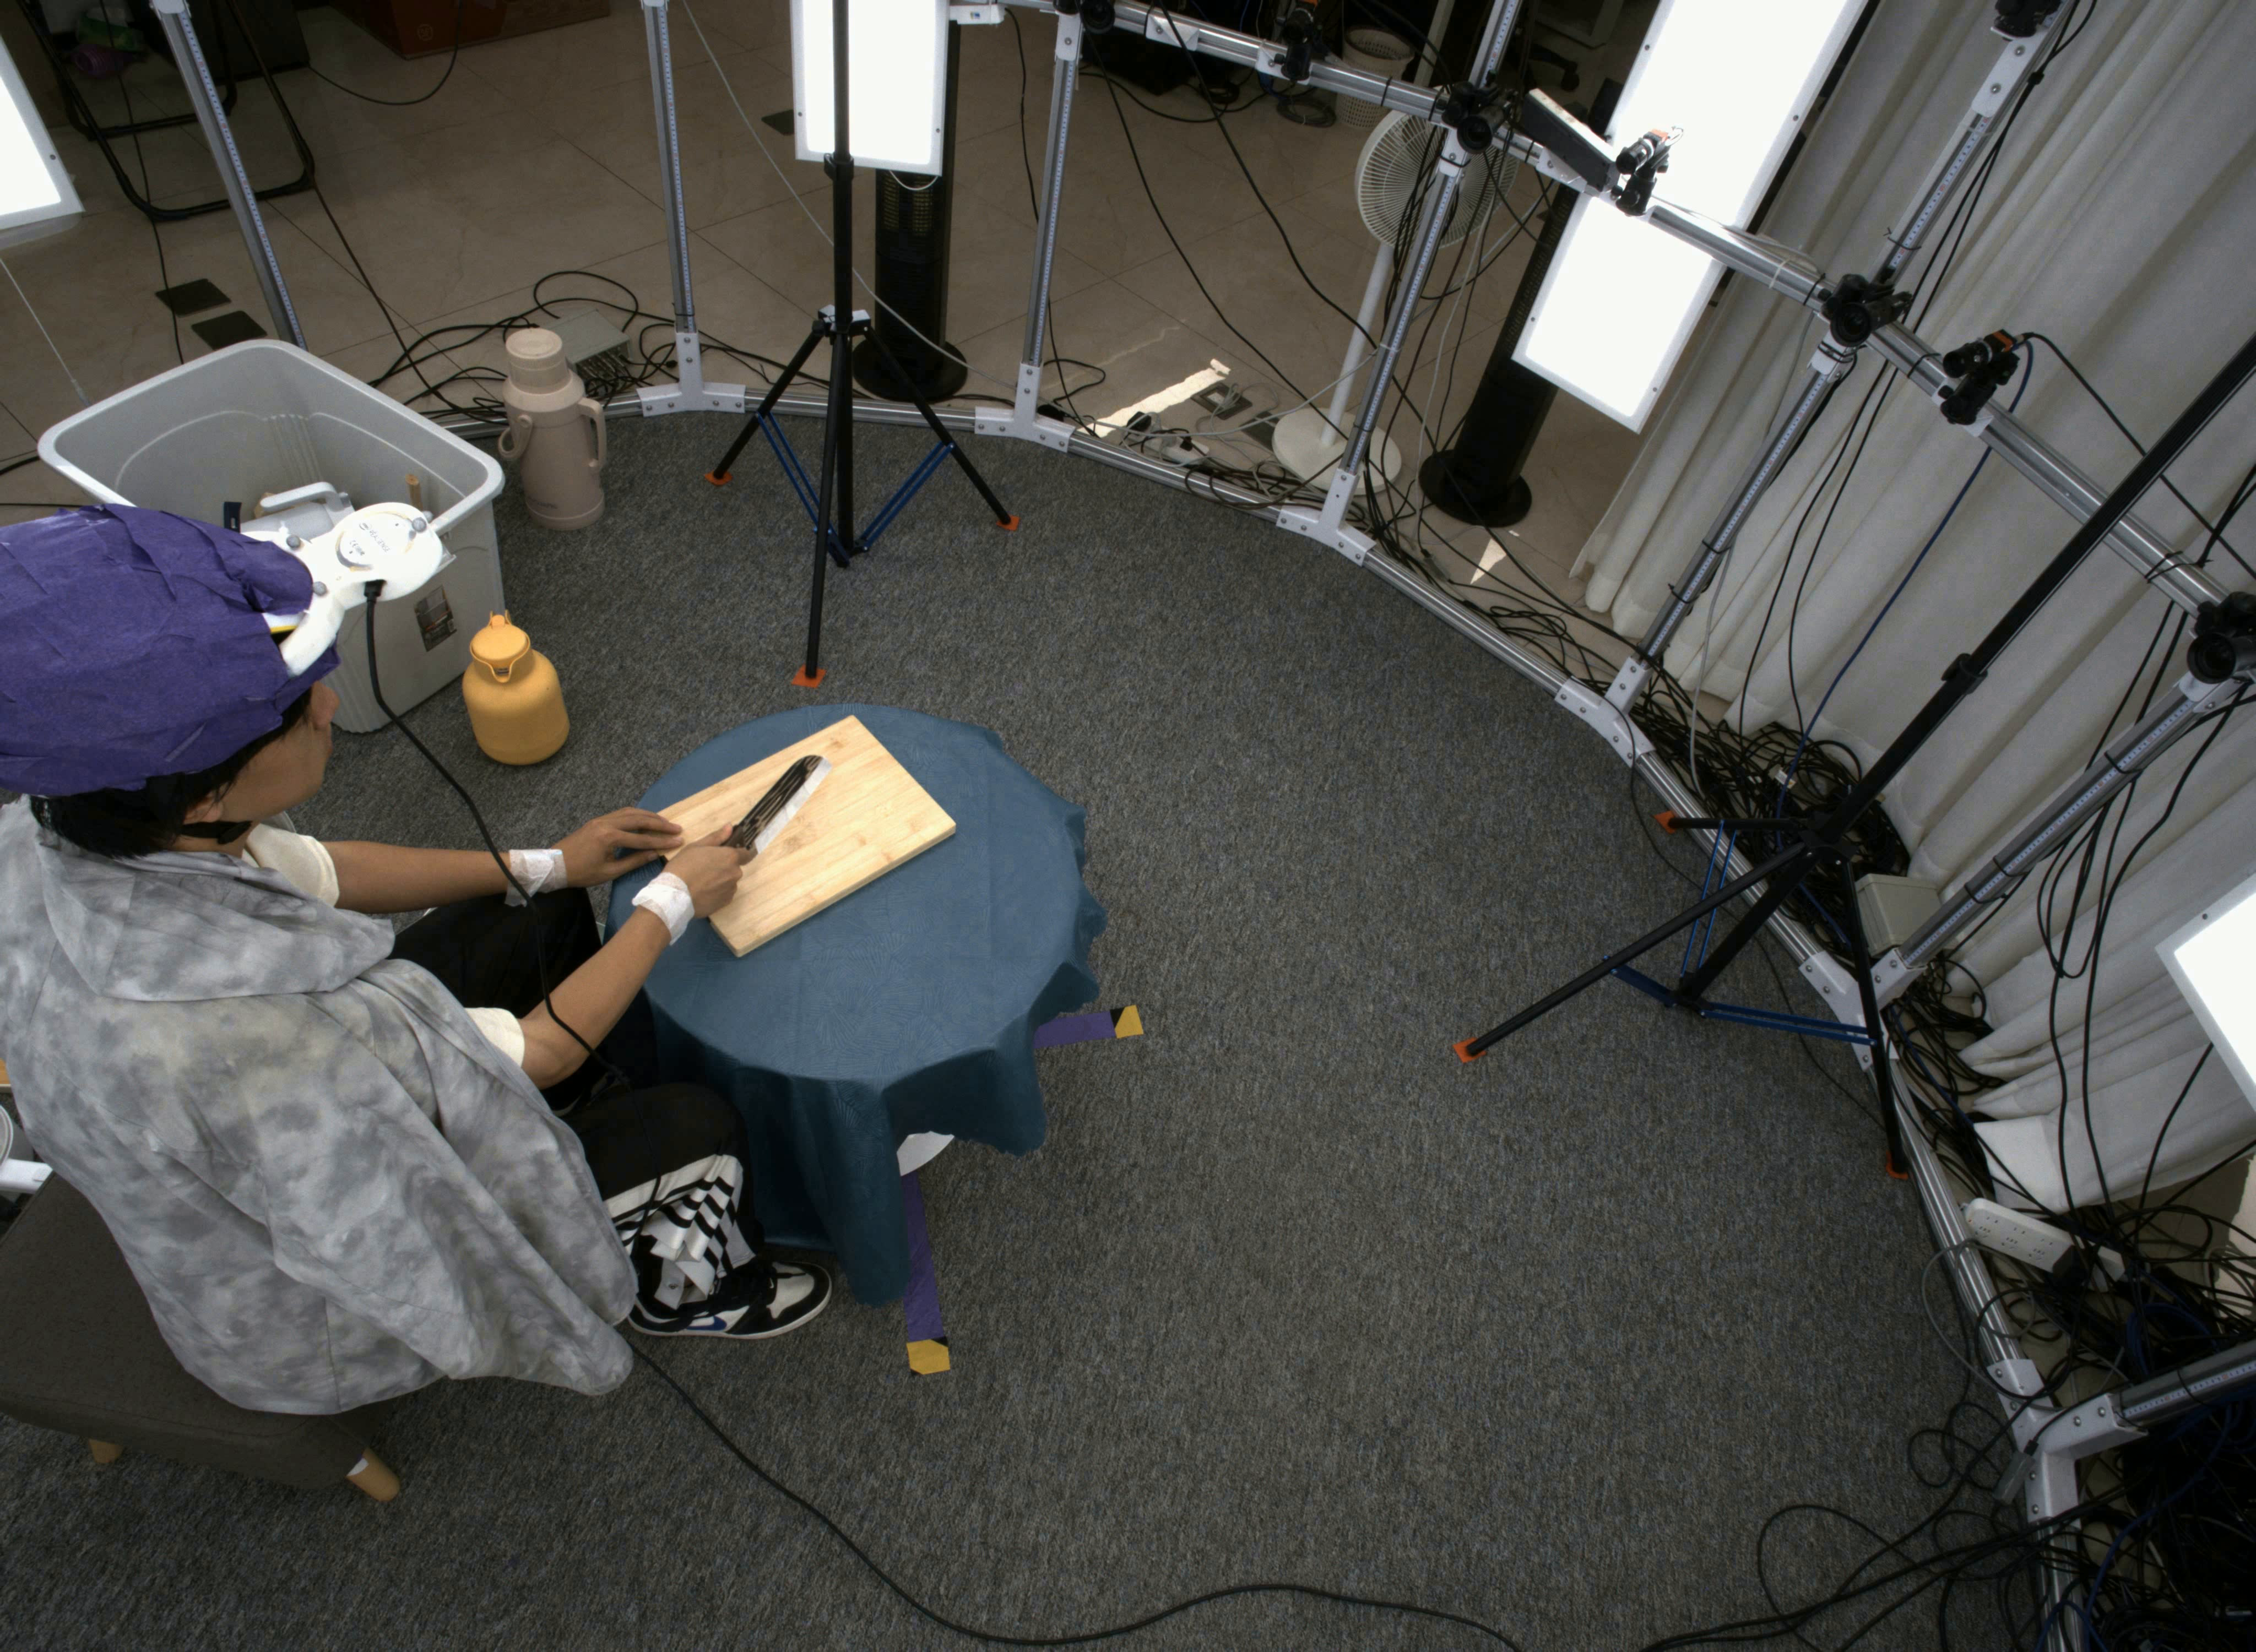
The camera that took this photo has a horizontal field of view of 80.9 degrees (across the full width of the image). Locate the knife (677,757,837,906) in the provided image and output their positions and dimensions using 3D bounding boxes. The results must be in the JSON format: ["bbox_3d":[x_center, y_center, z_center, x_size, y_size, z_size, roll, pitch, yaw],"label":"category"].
[{"bbox_3d":[-0.459,0.006,1.624,0.023,0.070,0.298,16,50,23],"label":"knife"}]

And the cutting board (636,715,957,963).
[{"bbox_3d":[-0.432,0.006,1.710,0.349,0.024,0.245,-34,67,-32],"label":"cutting board"}]
